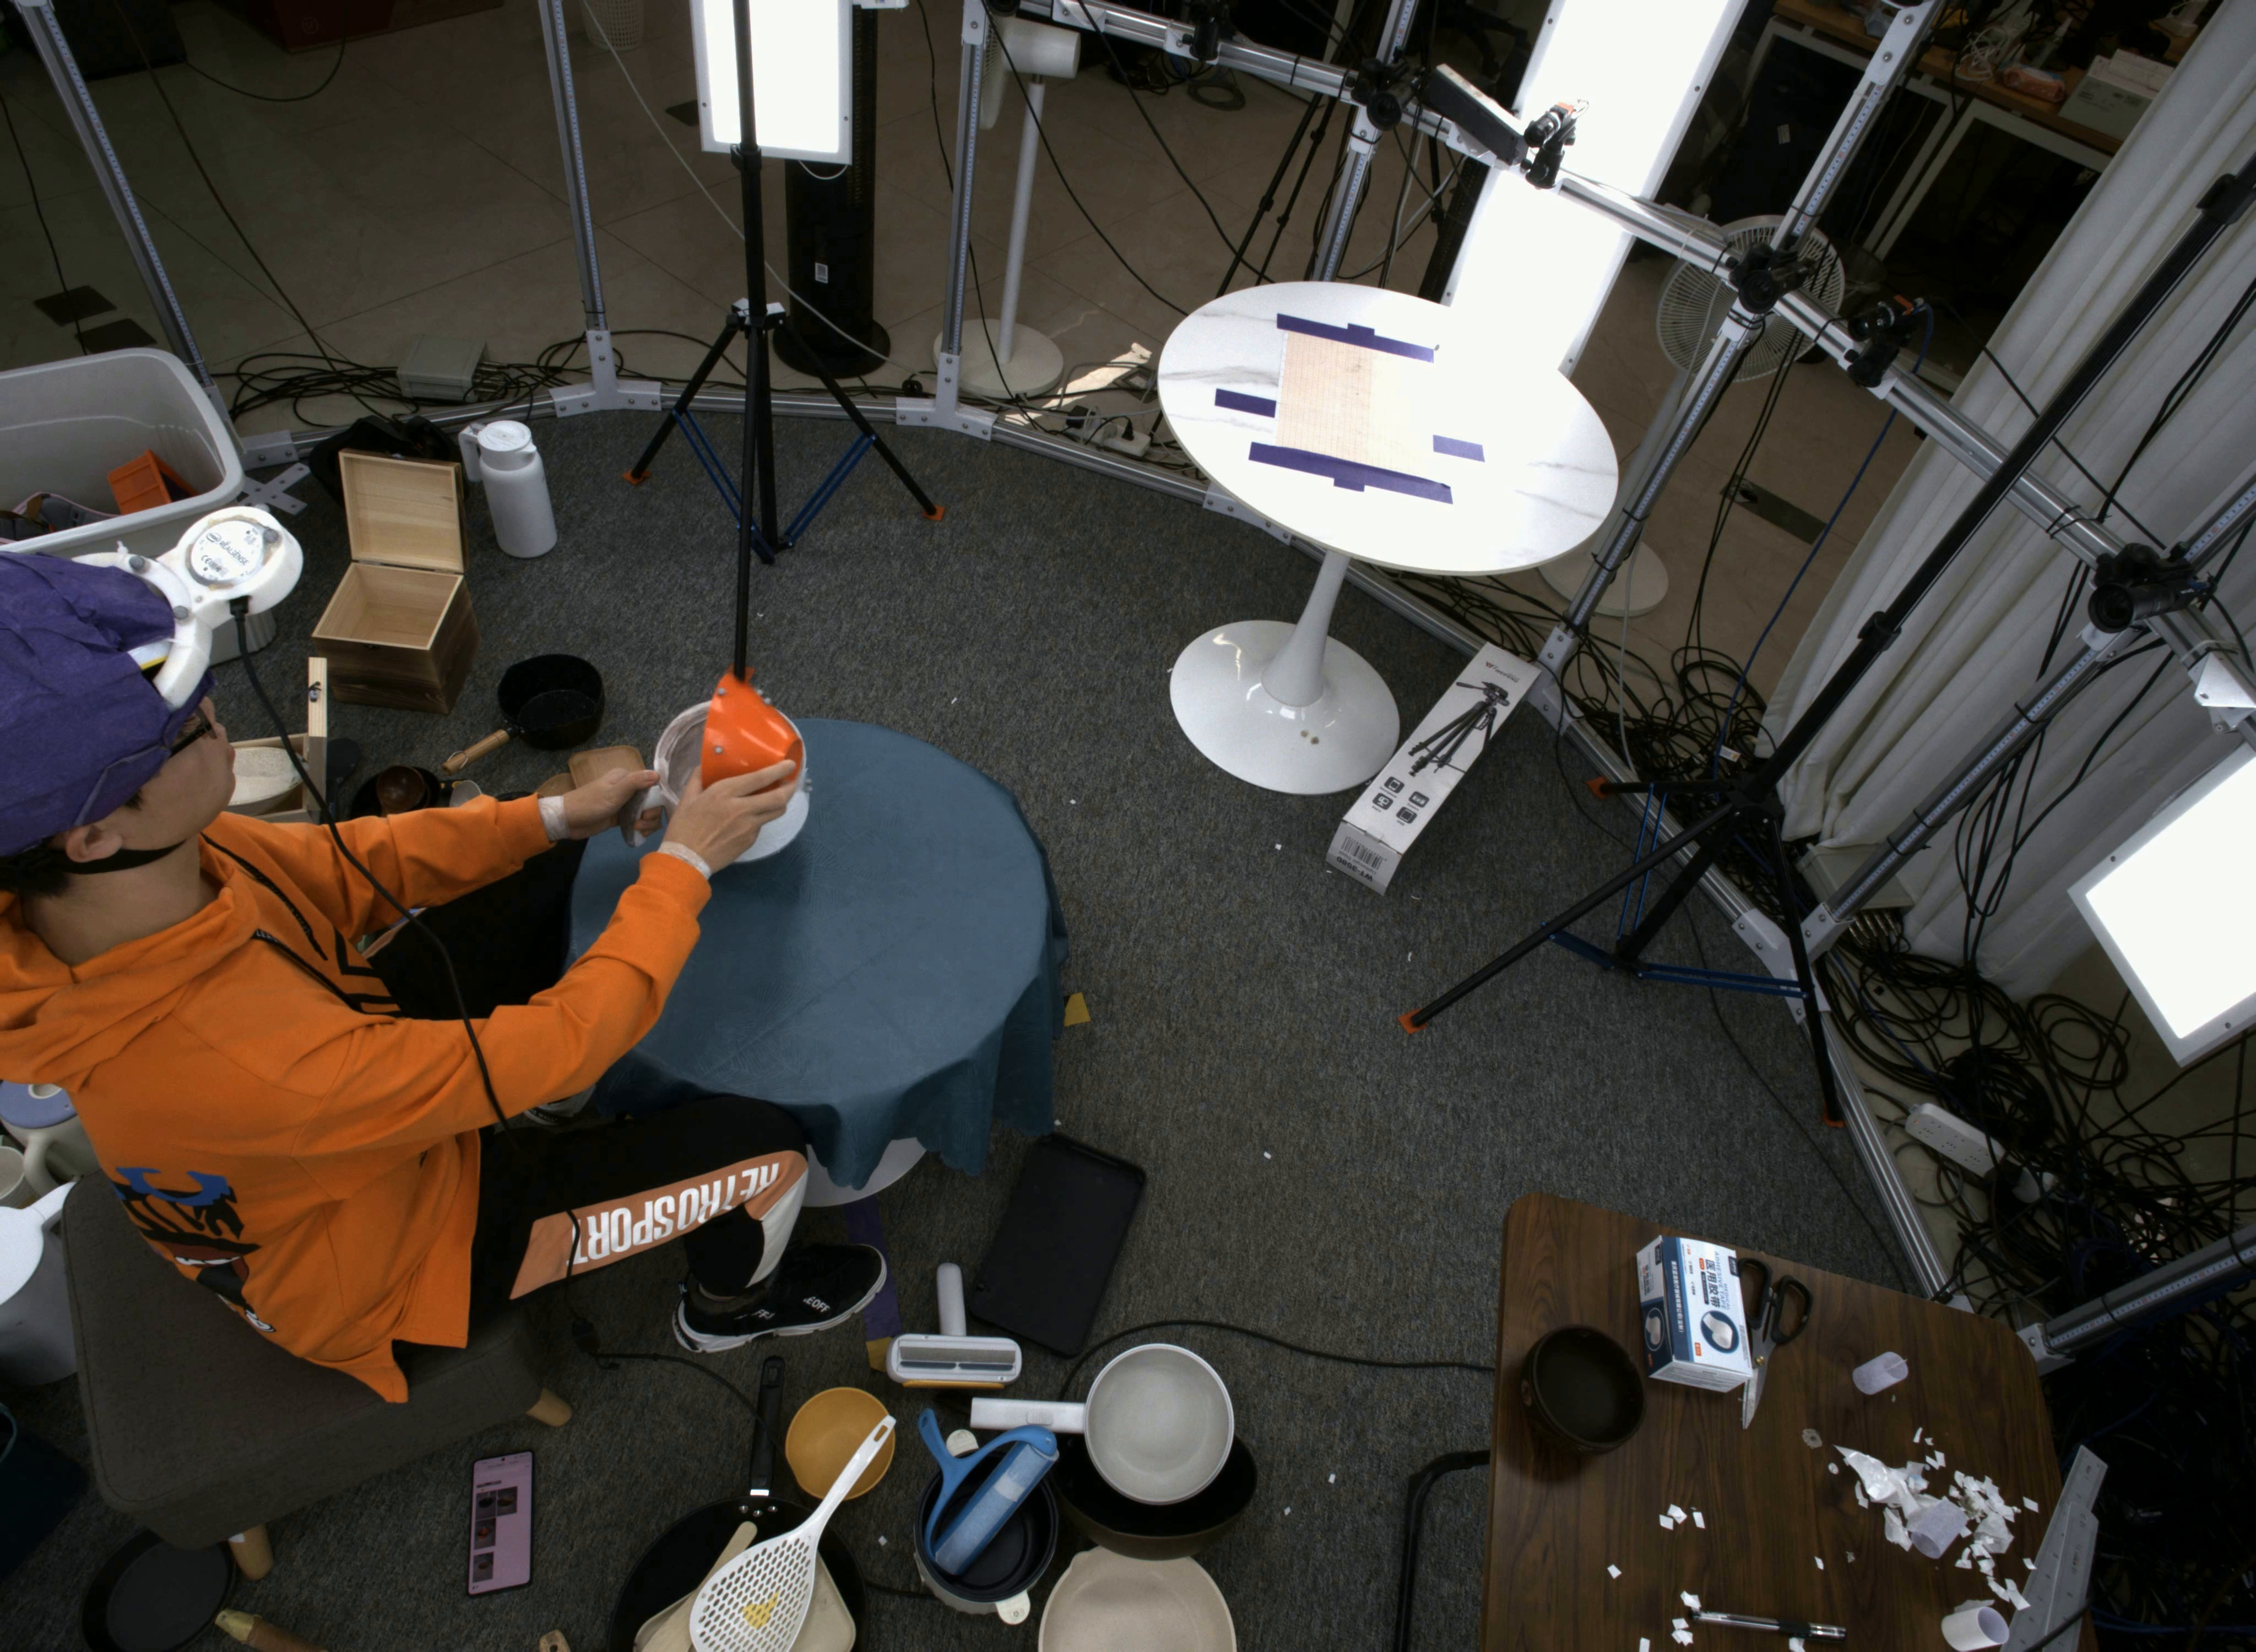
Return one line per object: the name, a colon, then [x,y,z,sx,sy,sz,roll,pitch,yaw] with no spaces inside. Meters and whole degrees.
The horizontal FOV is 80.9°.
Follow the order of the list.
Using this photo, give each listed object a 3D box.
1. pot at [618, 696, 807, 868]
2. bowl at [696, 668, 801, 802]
pot: [-0.506,-0.043,1.561,0.234,0.139,0.175,-20,66,-23]
bowl: [-0.429,-0.095,1.468,0.103,0.152,0.146,13,50,3]
